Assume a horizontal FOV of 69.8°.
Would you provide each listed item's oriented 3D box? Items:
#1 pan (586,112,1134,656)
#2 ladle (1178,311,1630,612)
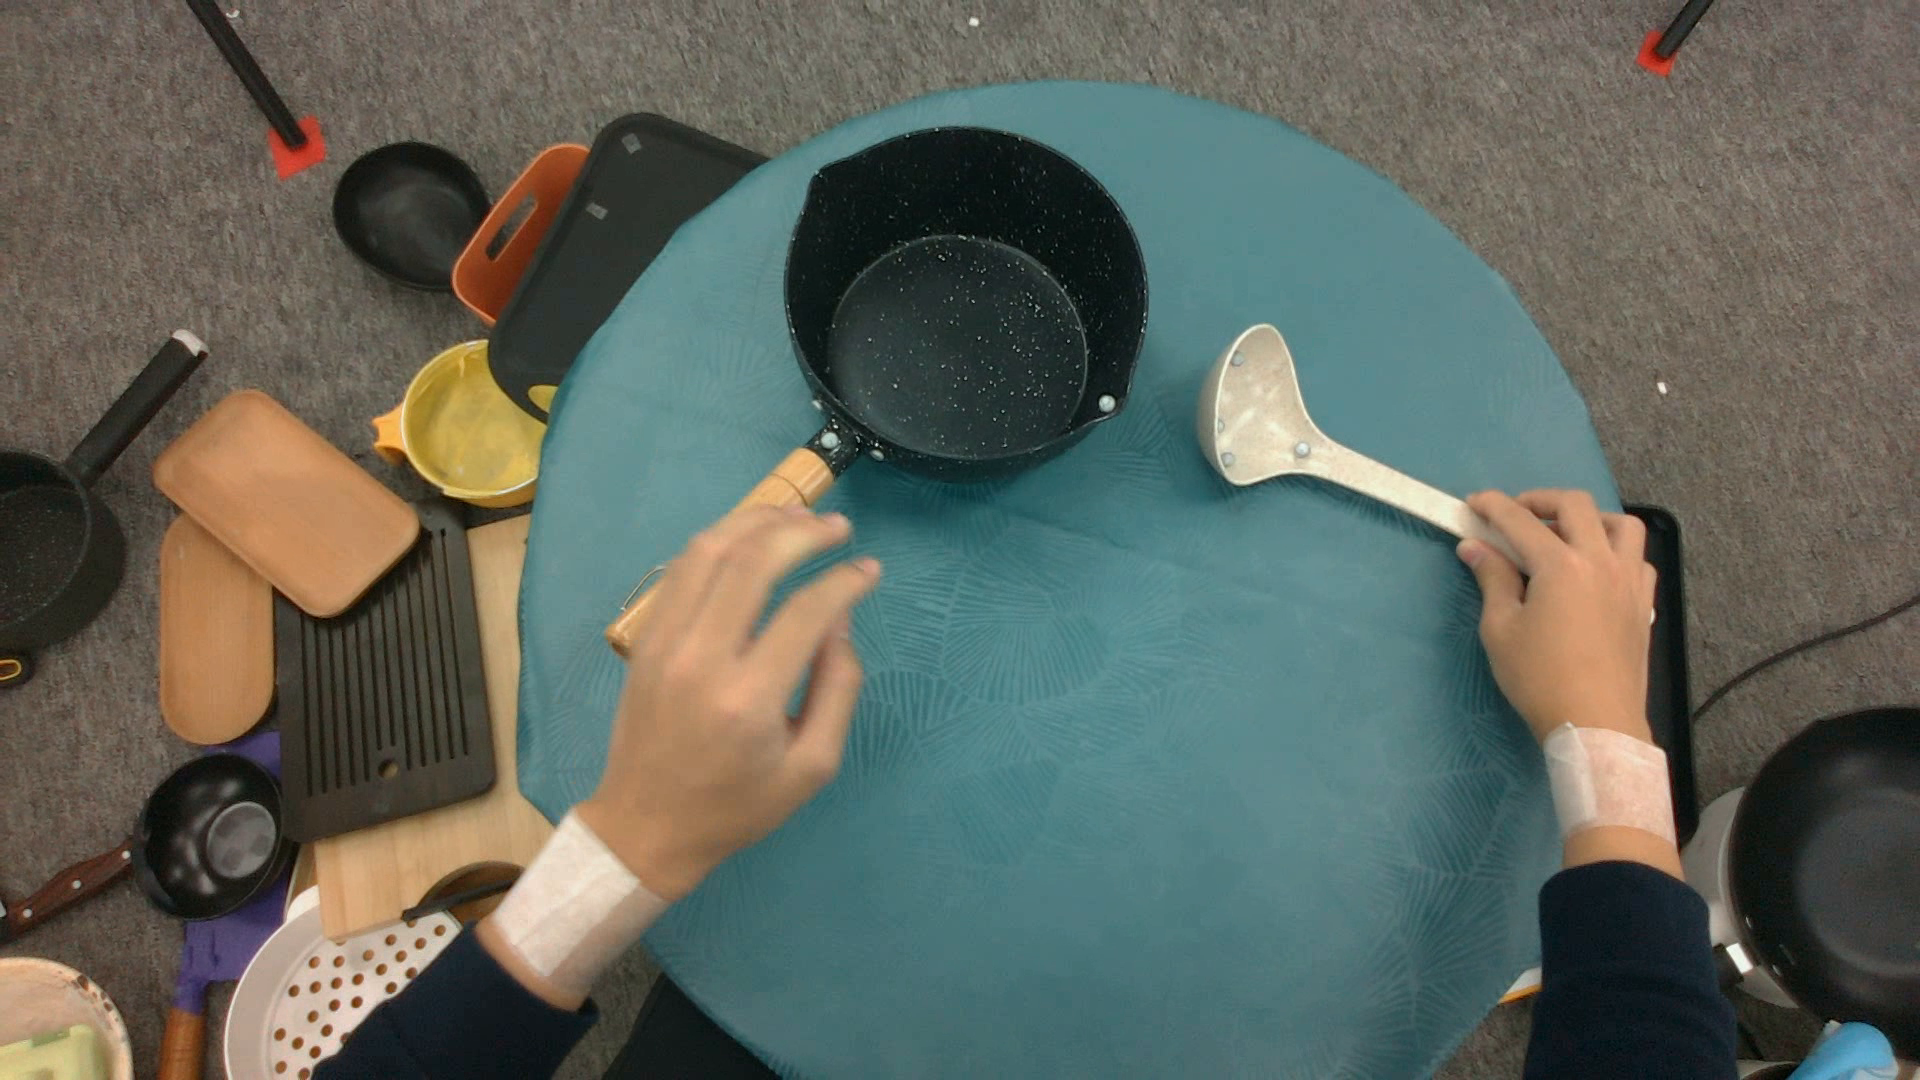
[{"bbox_3d":[-0.054,-0.065,0.696,0.207,0.108,0.344,37,73,6],"label":"pan"},{"bbox_3d":[0.245,-0.034,0.731,0.275,0.069,0.090,24,64,3],"label":"ladle"}]
